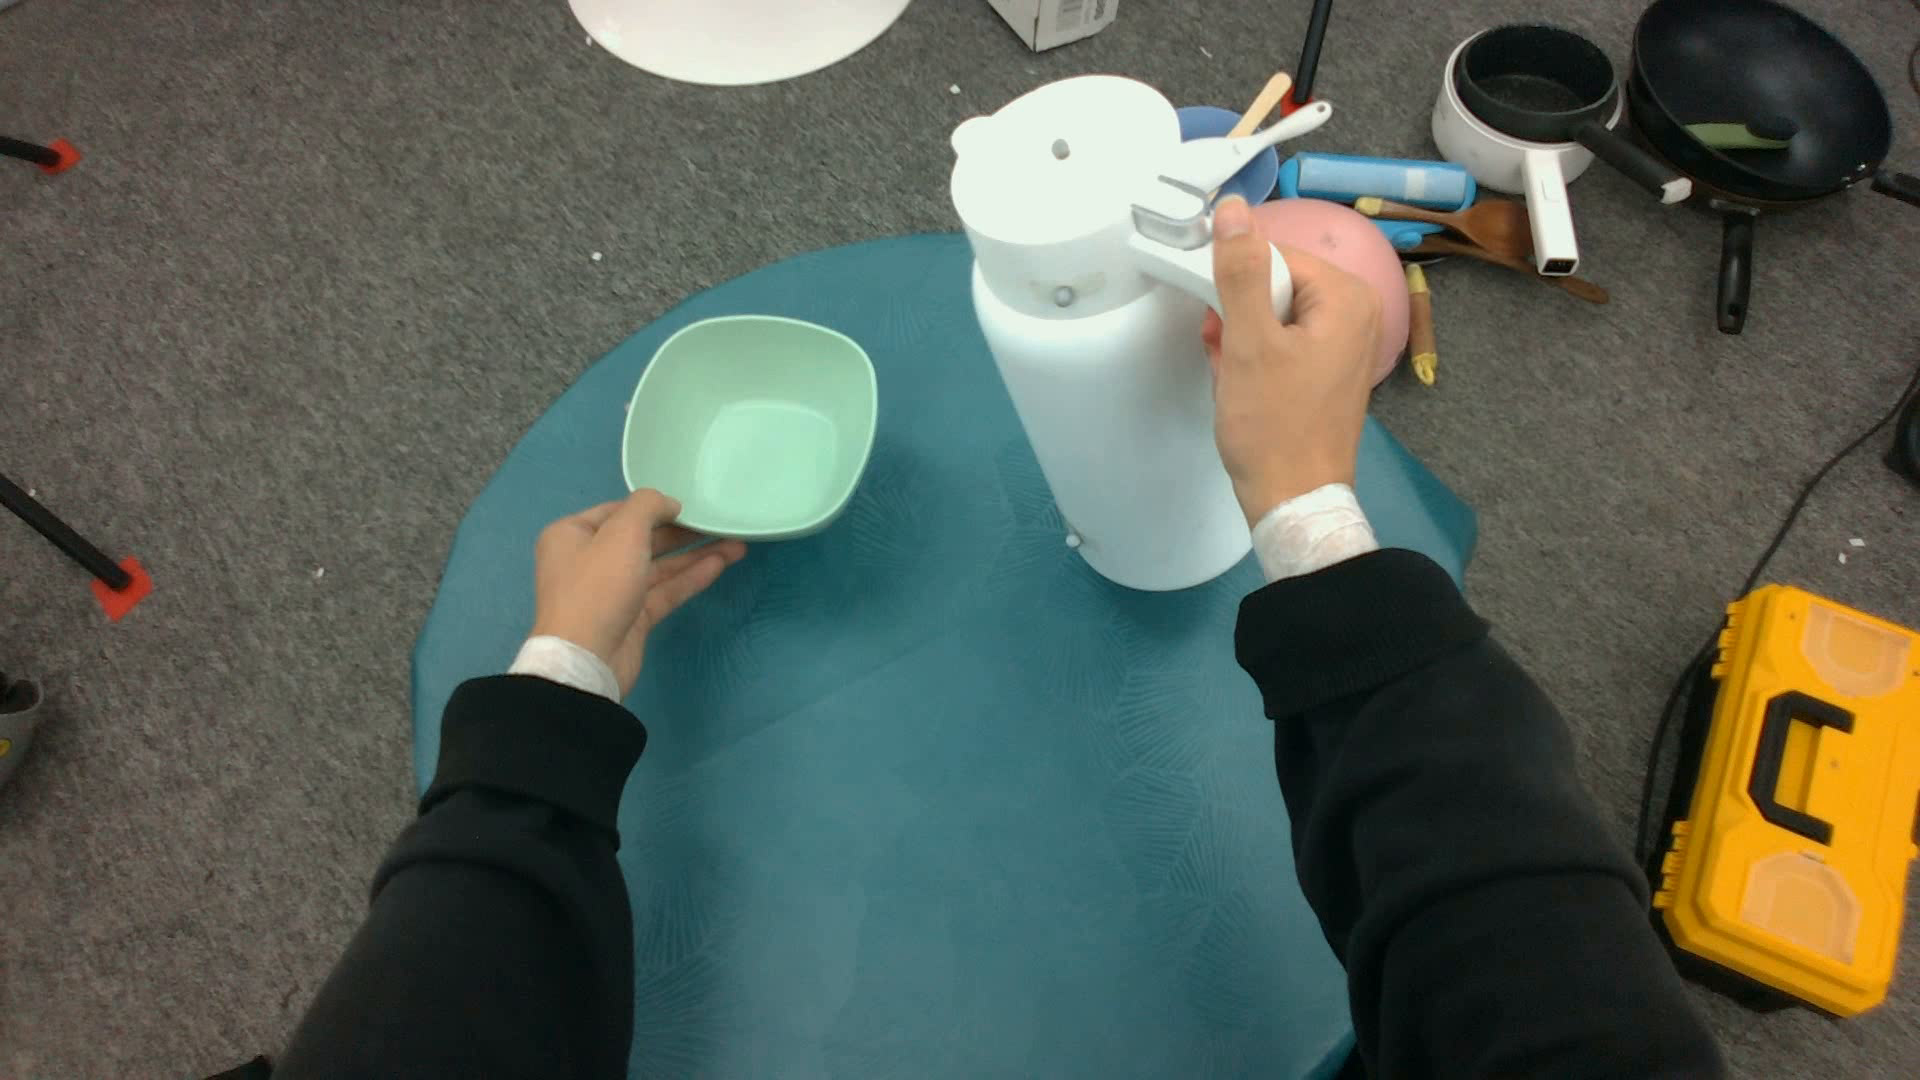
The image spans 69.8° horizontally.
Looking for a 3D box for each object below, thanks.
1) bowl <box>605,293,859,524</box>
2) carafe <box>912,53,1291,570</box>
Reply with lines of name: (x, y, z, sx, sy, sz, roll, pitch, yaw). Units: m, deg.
bowl: (-0.124, -0.066, 0.783, 0.151, 0.058, 0.152, -1, 69, 2)
carafe: (0.082, -0.094, 0.668, 0.173, 0.268, 0.124, 31, 70, 35)
